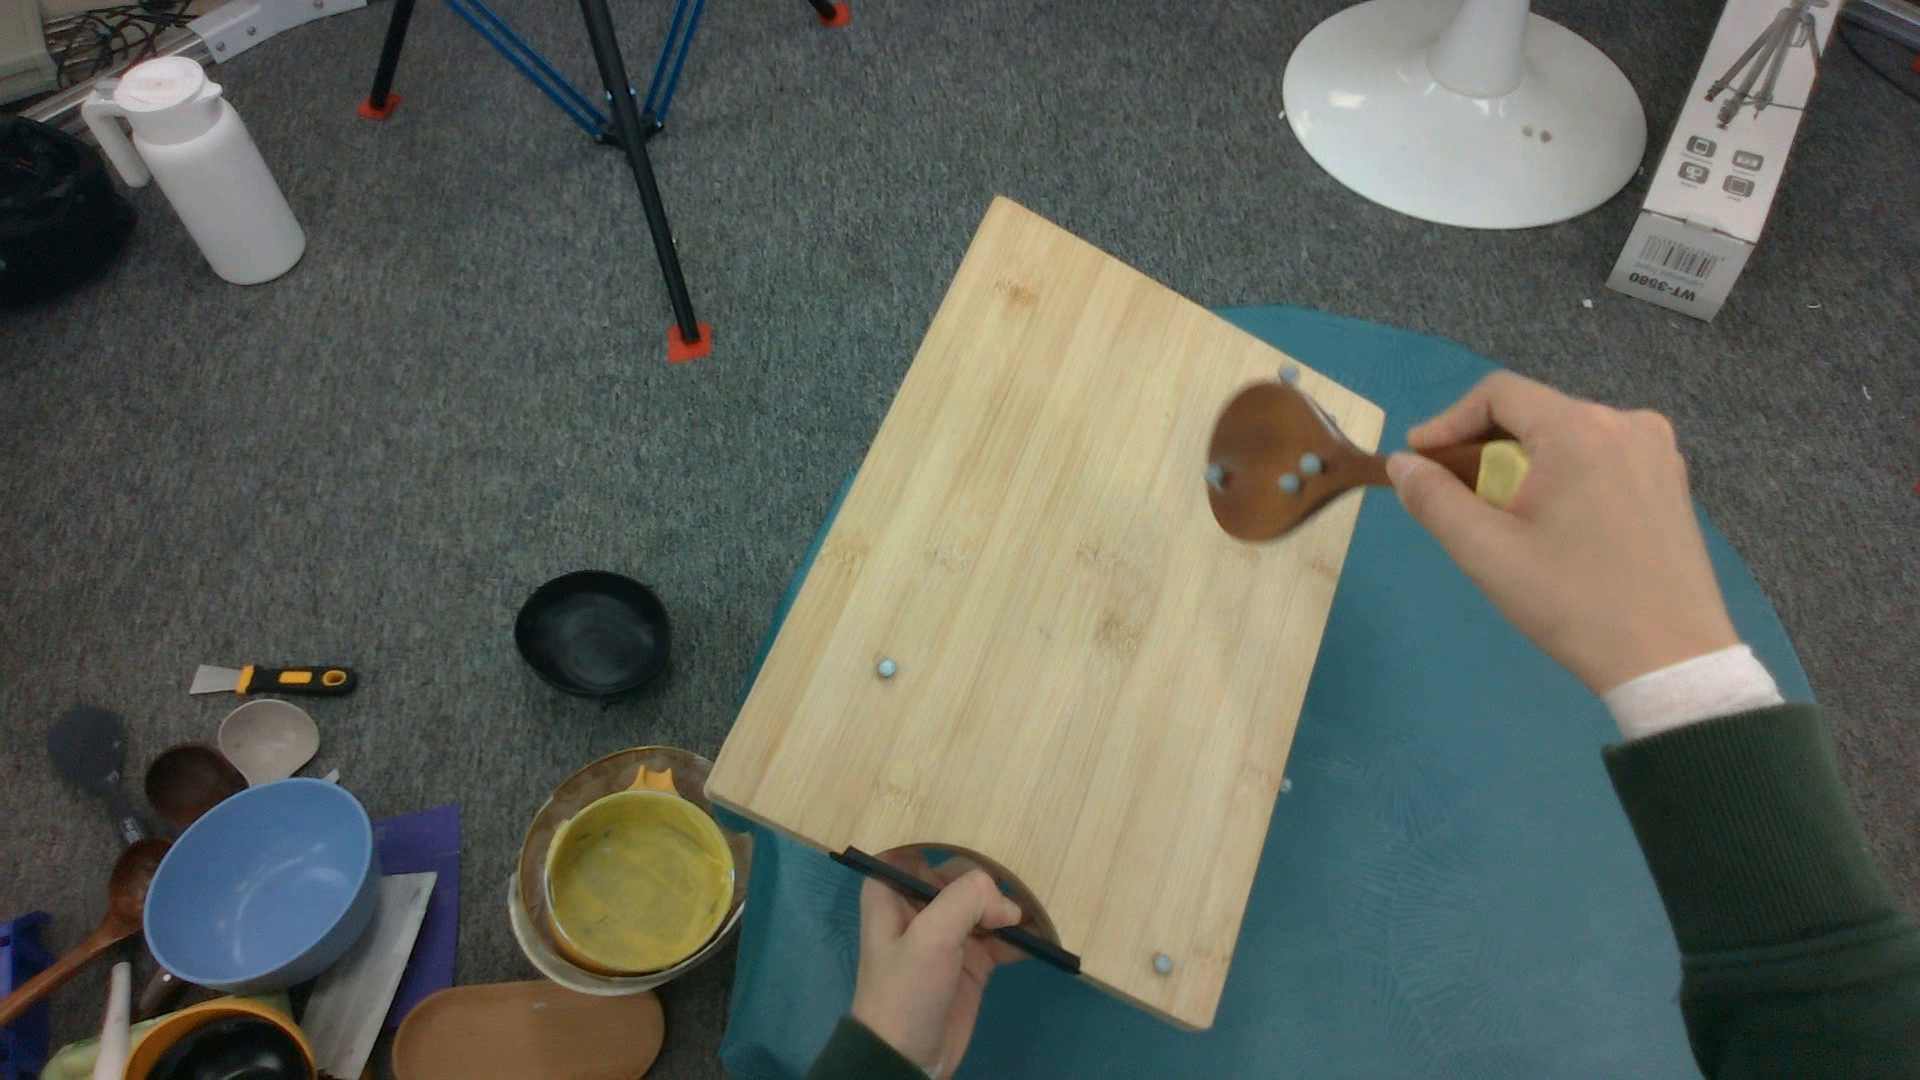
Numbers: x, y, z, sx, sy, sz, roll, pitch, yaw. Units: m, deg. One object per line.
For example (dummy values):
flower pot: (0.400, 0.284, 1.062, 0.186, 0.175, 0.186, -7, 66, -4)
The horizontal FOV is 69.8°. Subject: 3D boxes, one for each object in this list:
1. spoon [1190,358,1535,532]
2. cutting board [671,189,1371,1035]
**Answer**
spoon: (0.144, -0.034, 0.531, 0.017, 0.215, 0.075, 8, 93, -18)
cutting board: (0.052, 0.019, 0.655, 0.251, 0.023, 0.350, 27, 63, -8)
